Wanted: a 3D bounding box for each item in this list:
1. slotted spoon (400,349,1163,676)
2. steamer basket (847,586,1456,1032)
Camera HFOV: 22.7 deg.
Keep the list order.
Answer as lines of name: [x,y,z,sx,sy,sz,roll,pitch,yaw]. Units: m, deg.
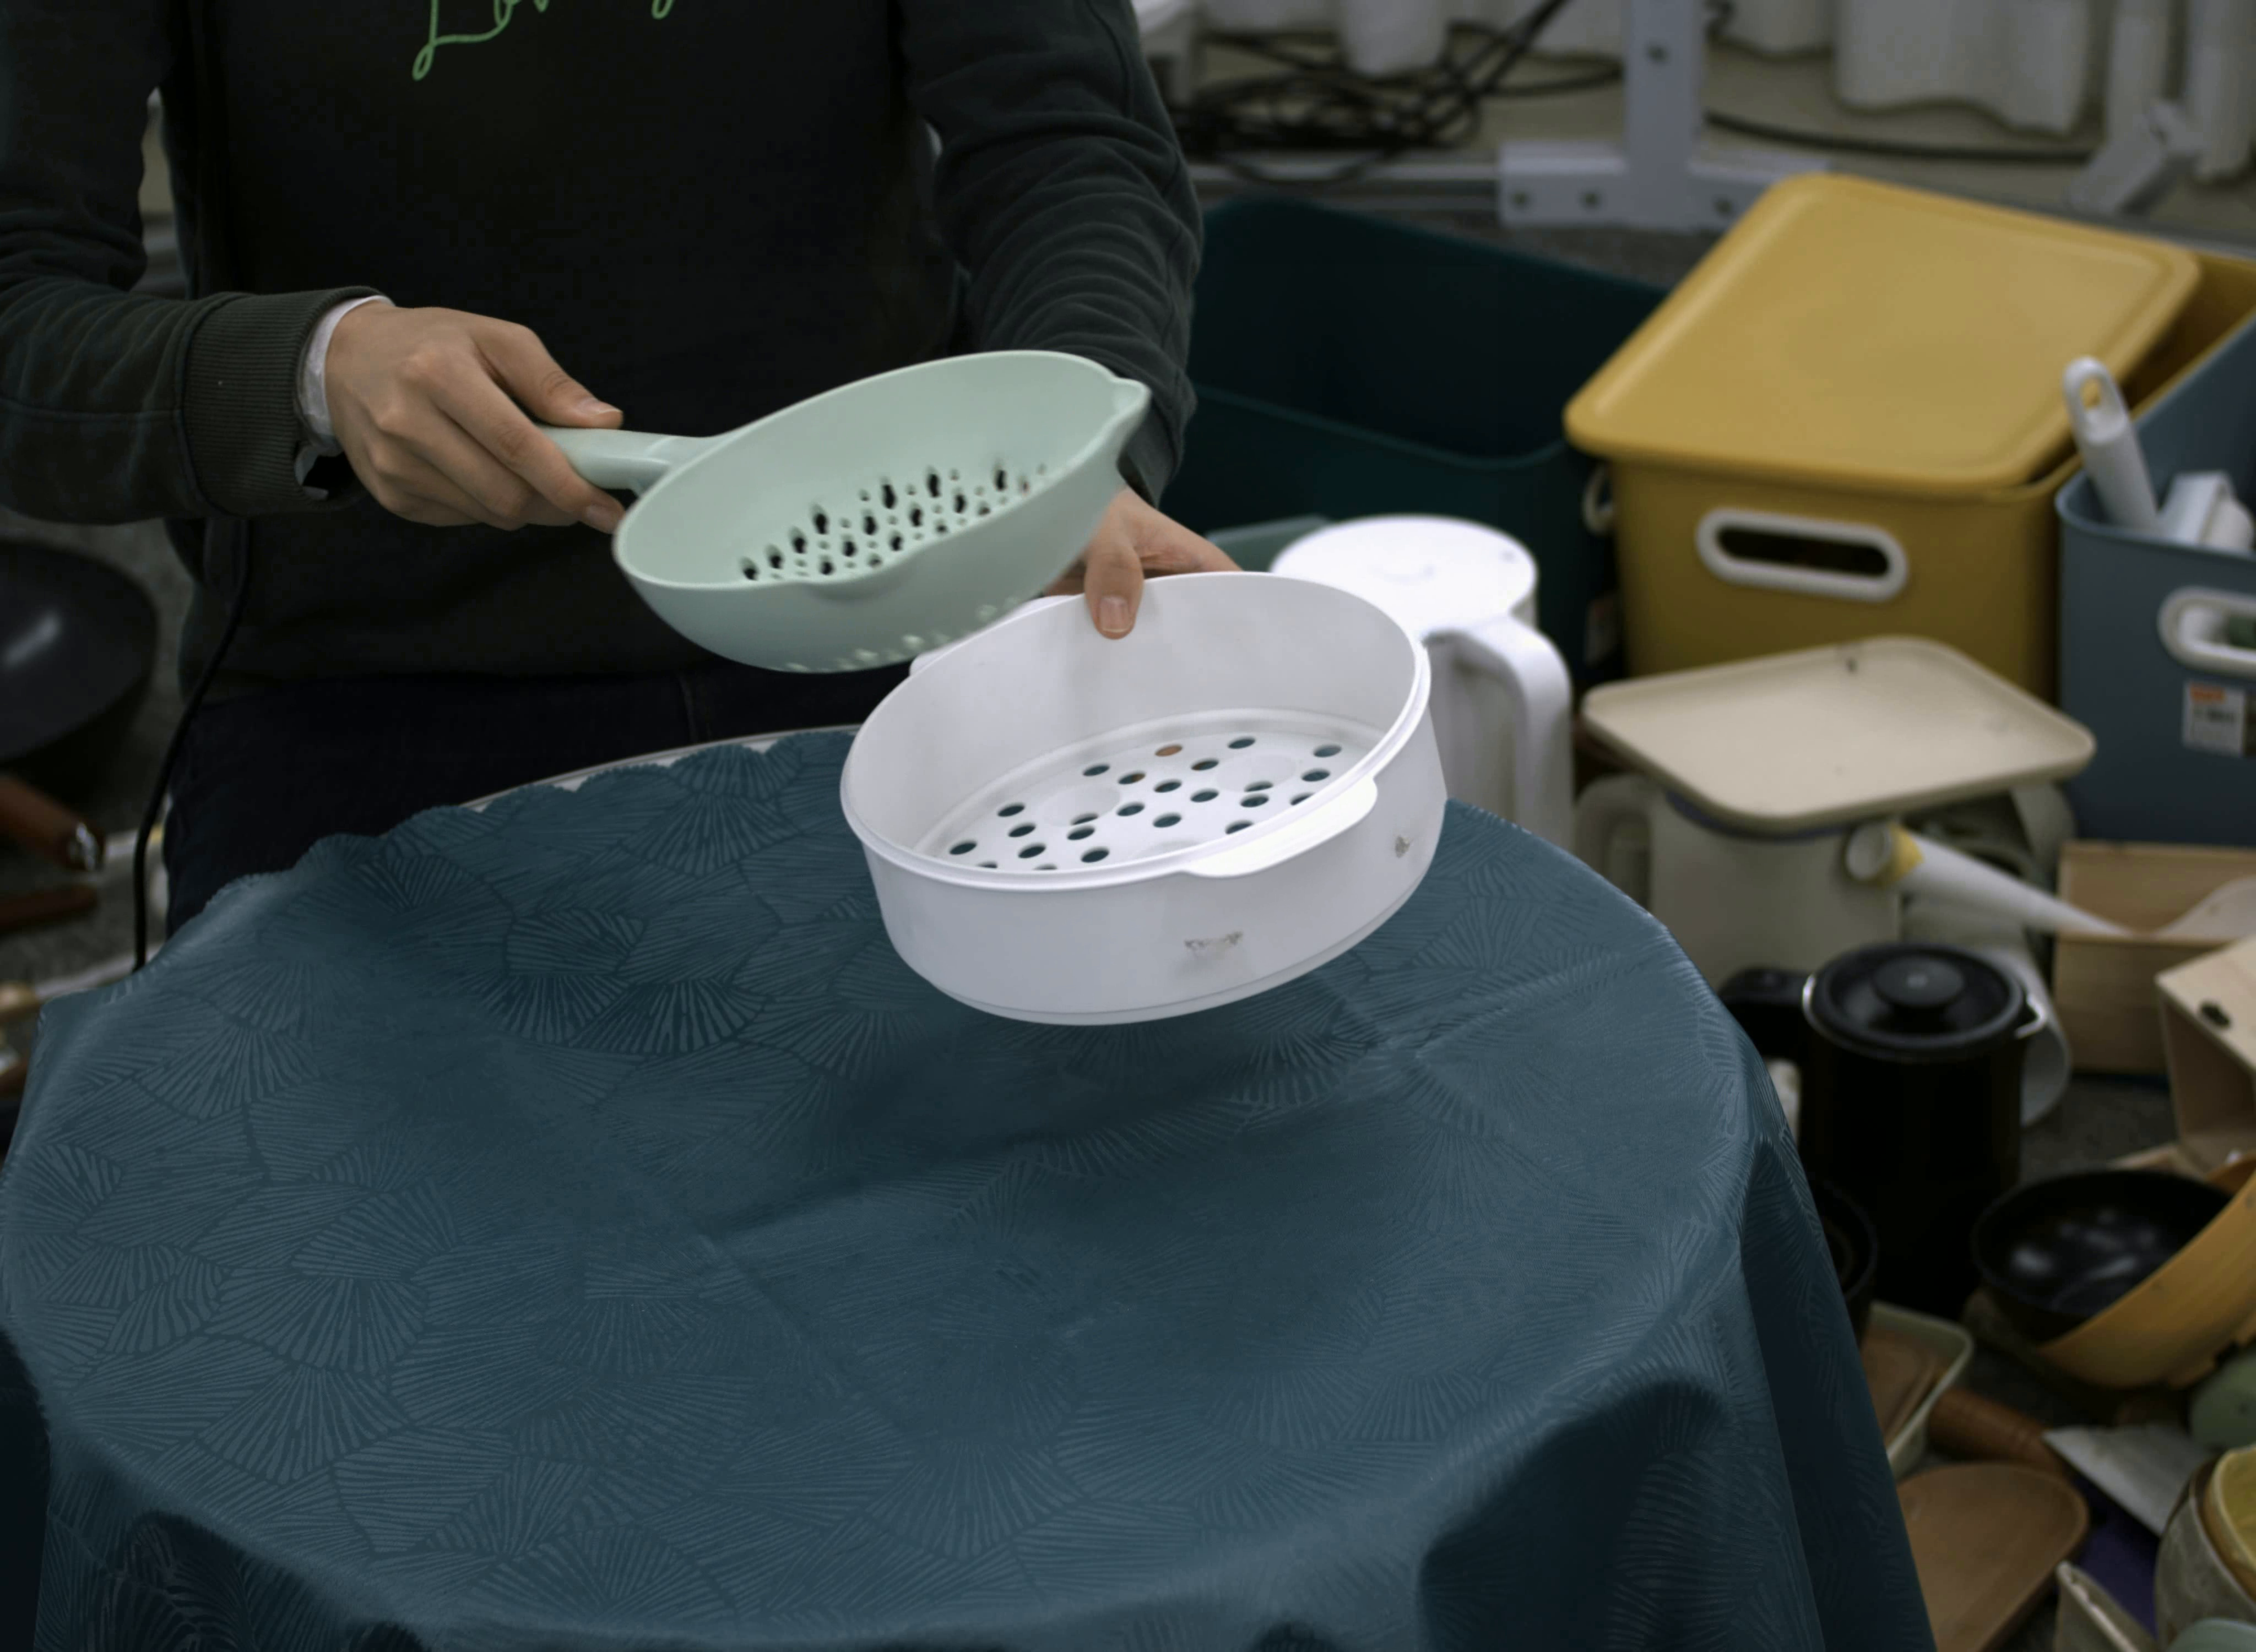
slotted spoon: [-0.139,-0.113,1.873,0.357,0.074,0.171,17,40,43]
steamer basket: [0.010,-0.005,1.871,0.203,0.068,0.231,-25,30,-22]
